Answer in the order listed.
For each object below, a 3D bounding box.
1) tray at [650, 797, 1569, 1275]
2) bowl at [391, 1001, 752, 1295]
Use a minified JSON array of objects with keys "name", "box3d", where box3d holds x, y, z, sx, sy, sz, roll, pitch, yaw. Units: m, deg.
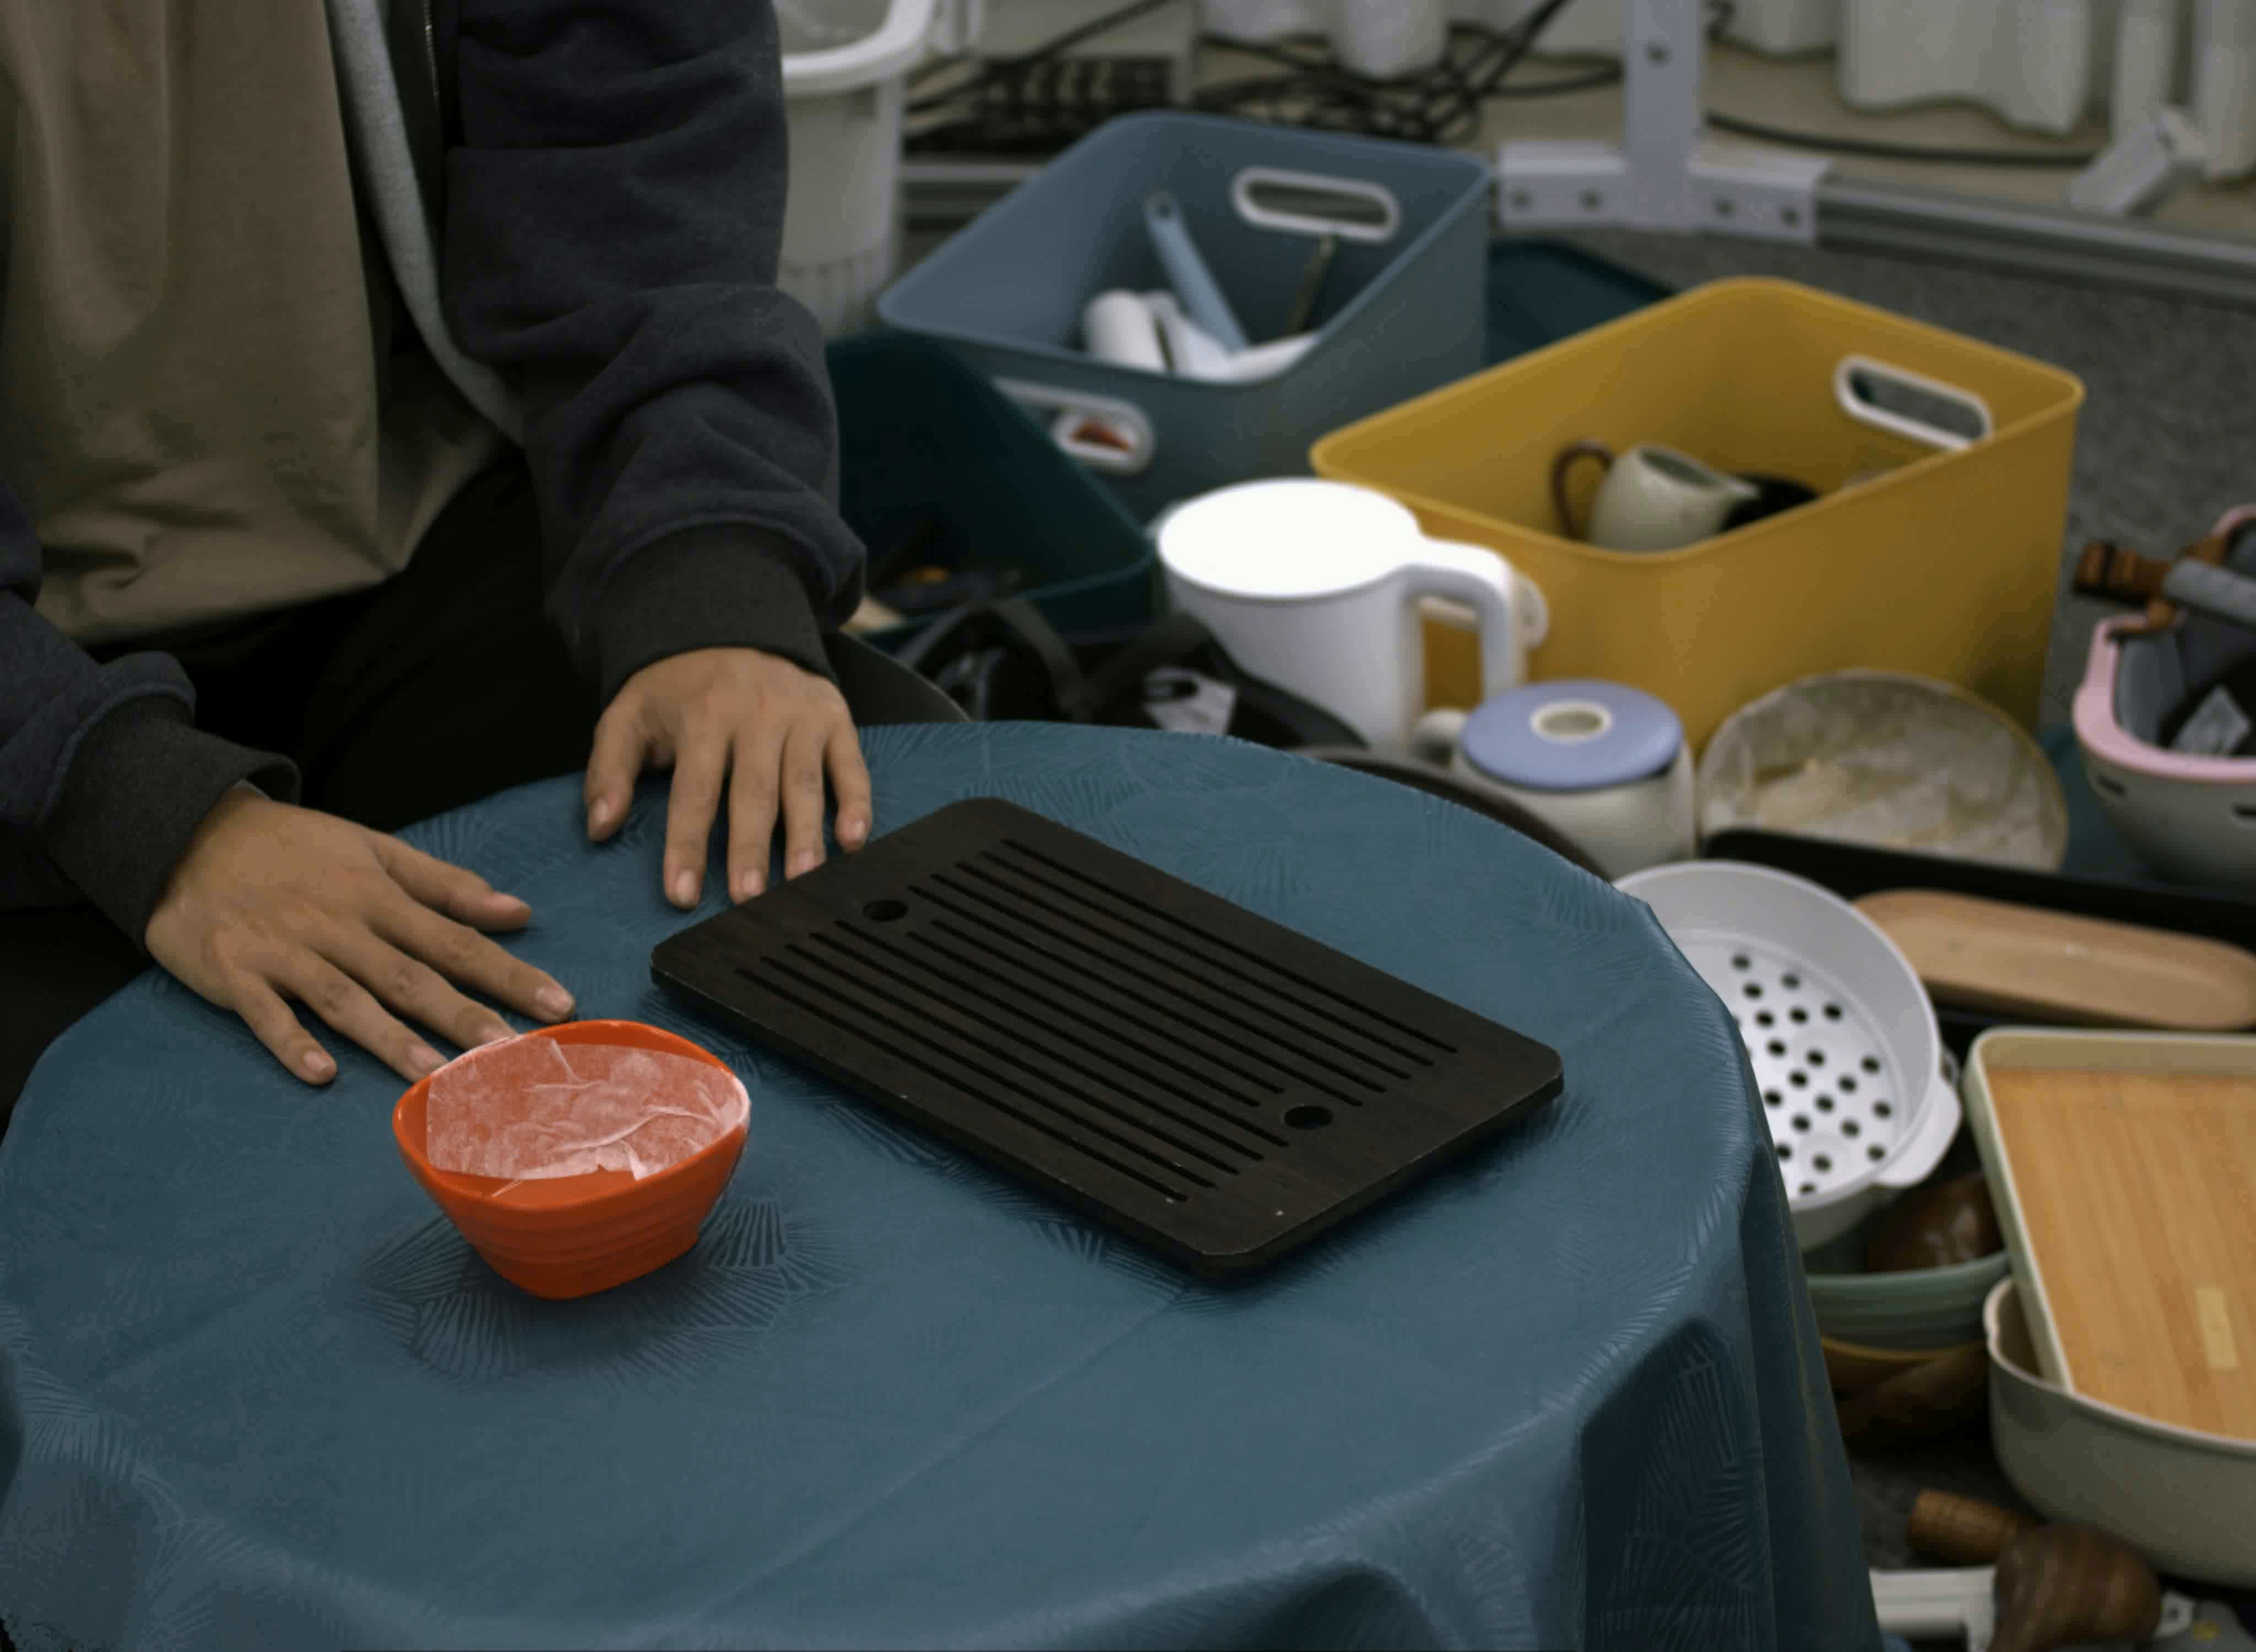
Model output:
[{"name":"tray","box3d":[-0.010,0.069,1.945,0.172,0.018,0.305,-25,35,-36]},{"name":"bowl","box3d":[-0.180,0.111,1.839,0.118,0.051,0.121,-1,32,1]}]
